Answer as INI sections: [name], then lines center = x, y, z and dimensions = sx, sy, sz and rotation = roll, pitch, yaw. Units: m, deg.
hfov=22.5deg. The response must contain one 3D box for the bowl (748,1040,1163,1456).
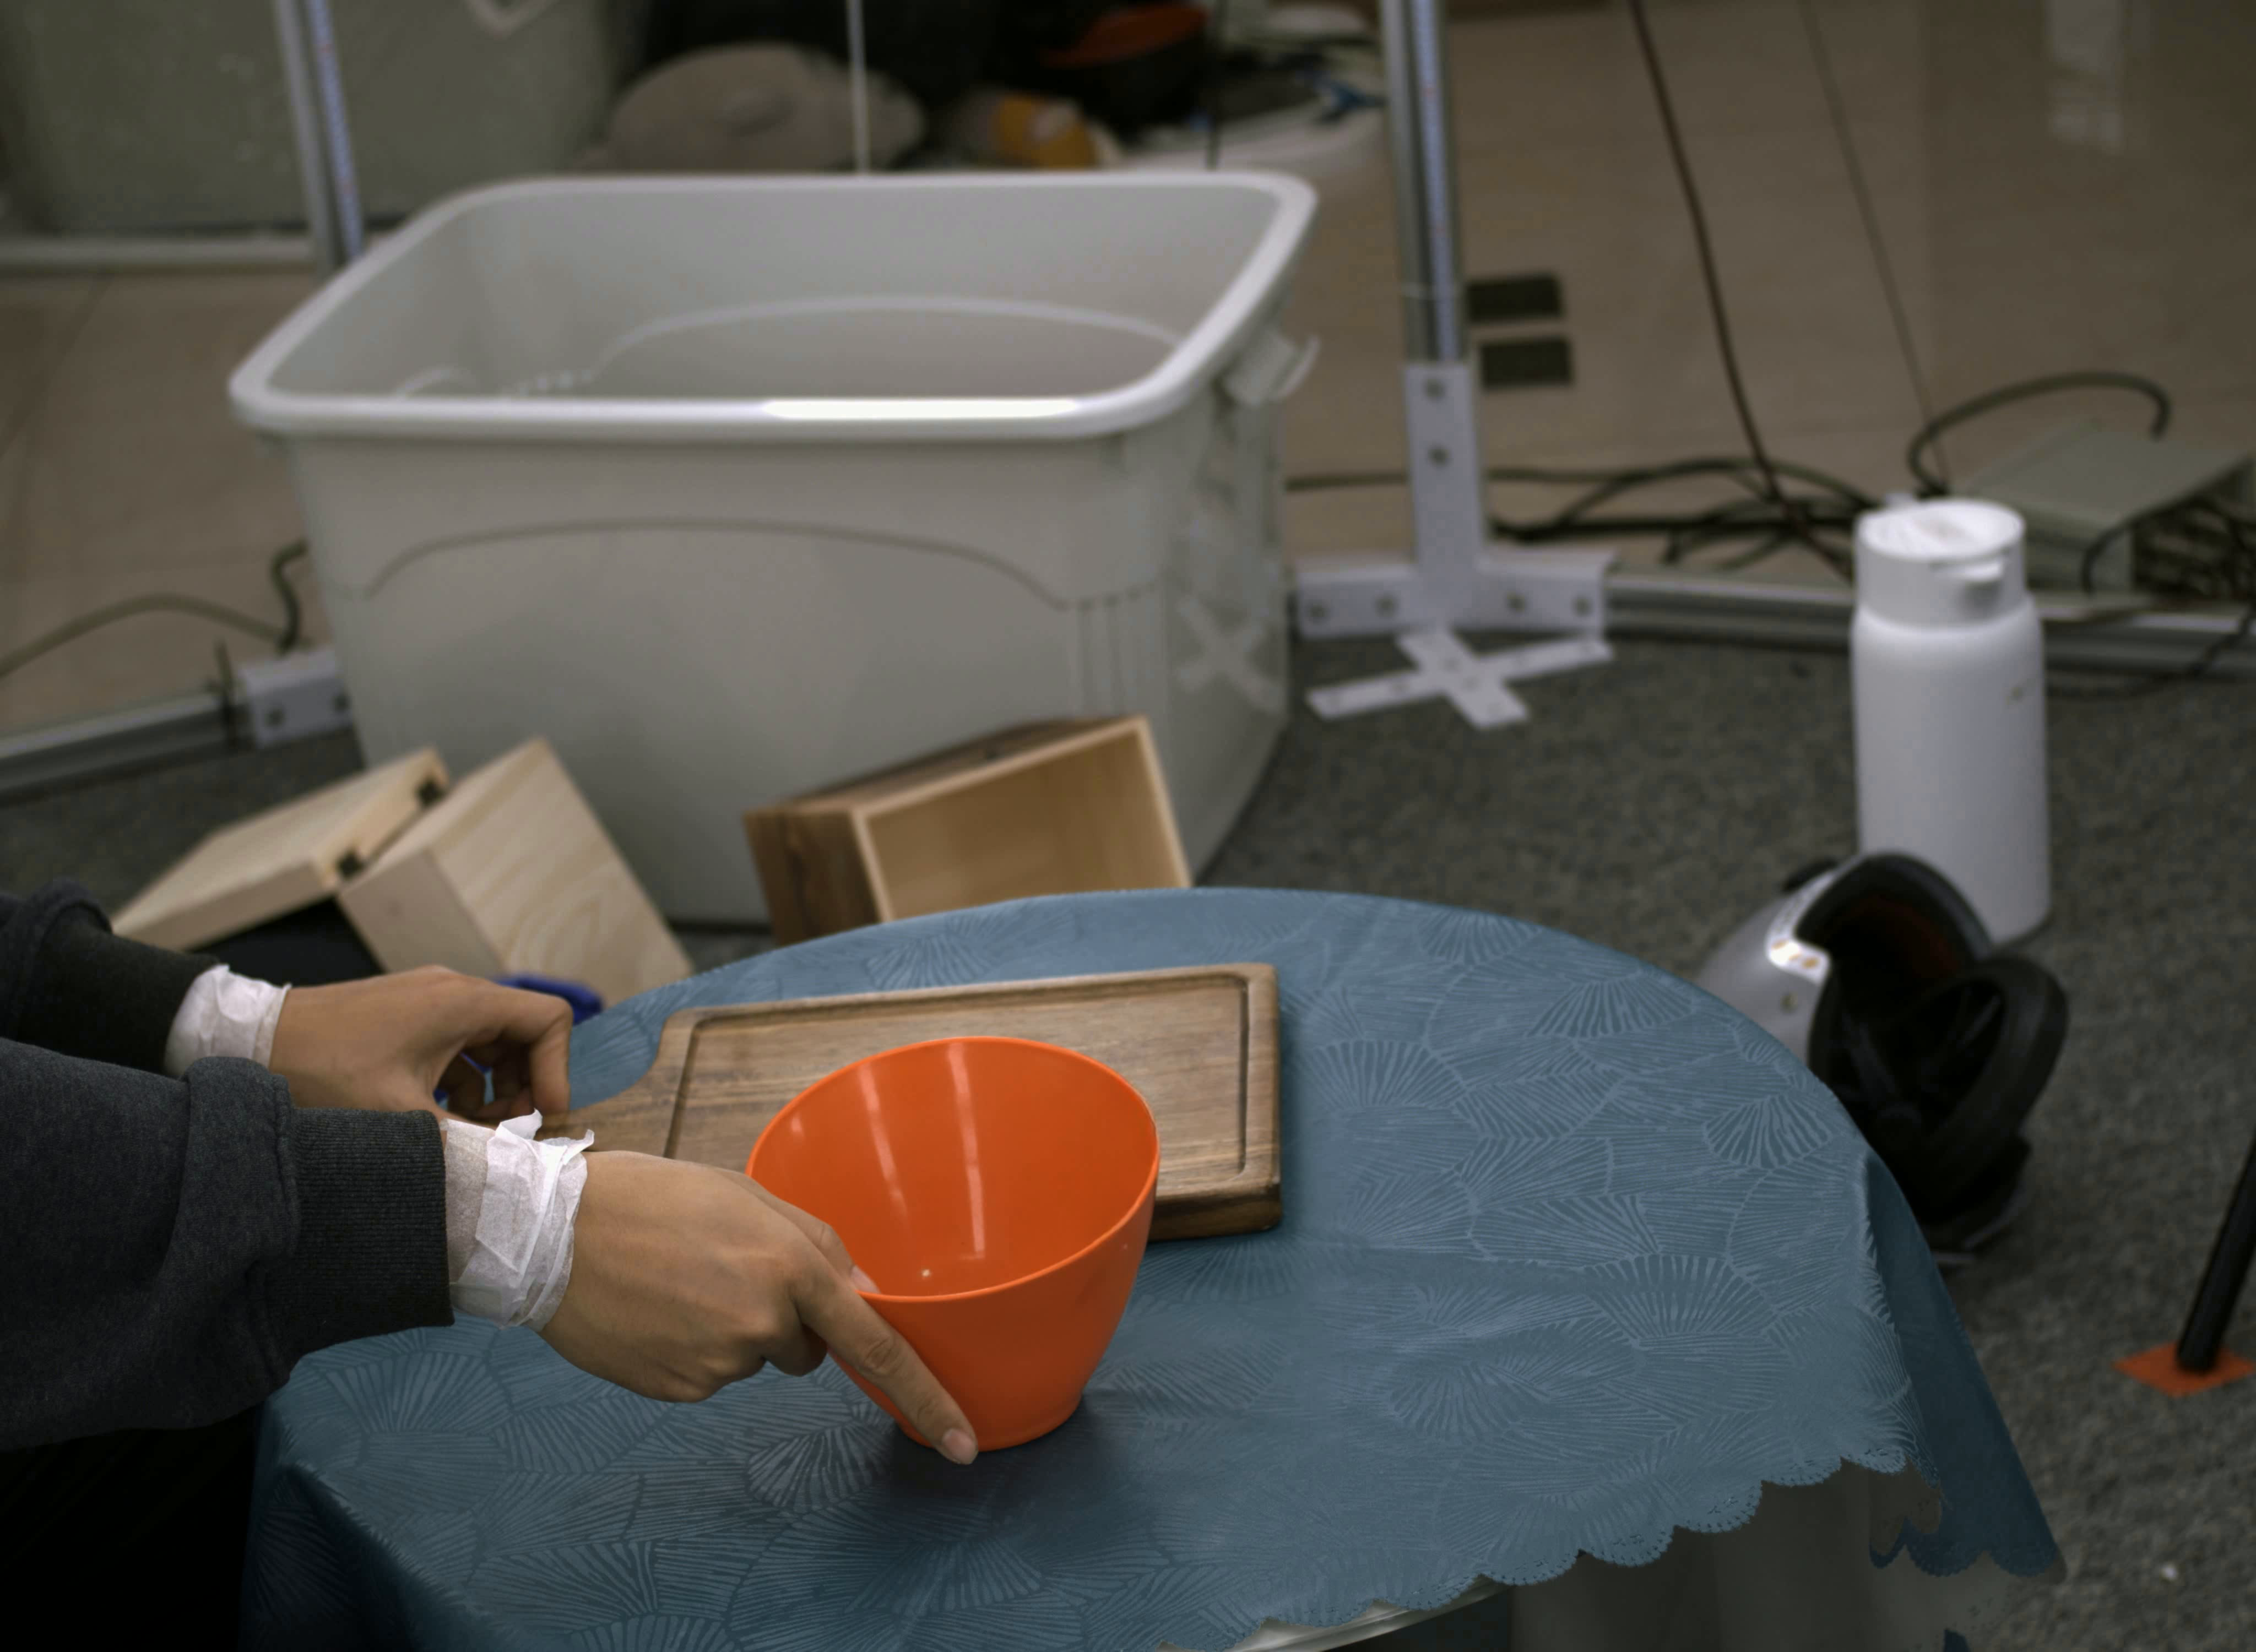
[bowl]
center = -0.055, 0.156, 2.003
dimensions = 0.148, 0.106, 0.146
rotation = -7, 25, 3

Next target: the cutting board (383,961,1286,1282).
[cutting board]
center = -0.114, 0.116, 2.200
dimensions = 0.351, 0.023, 0.198
rotation = -5, 25, 4
